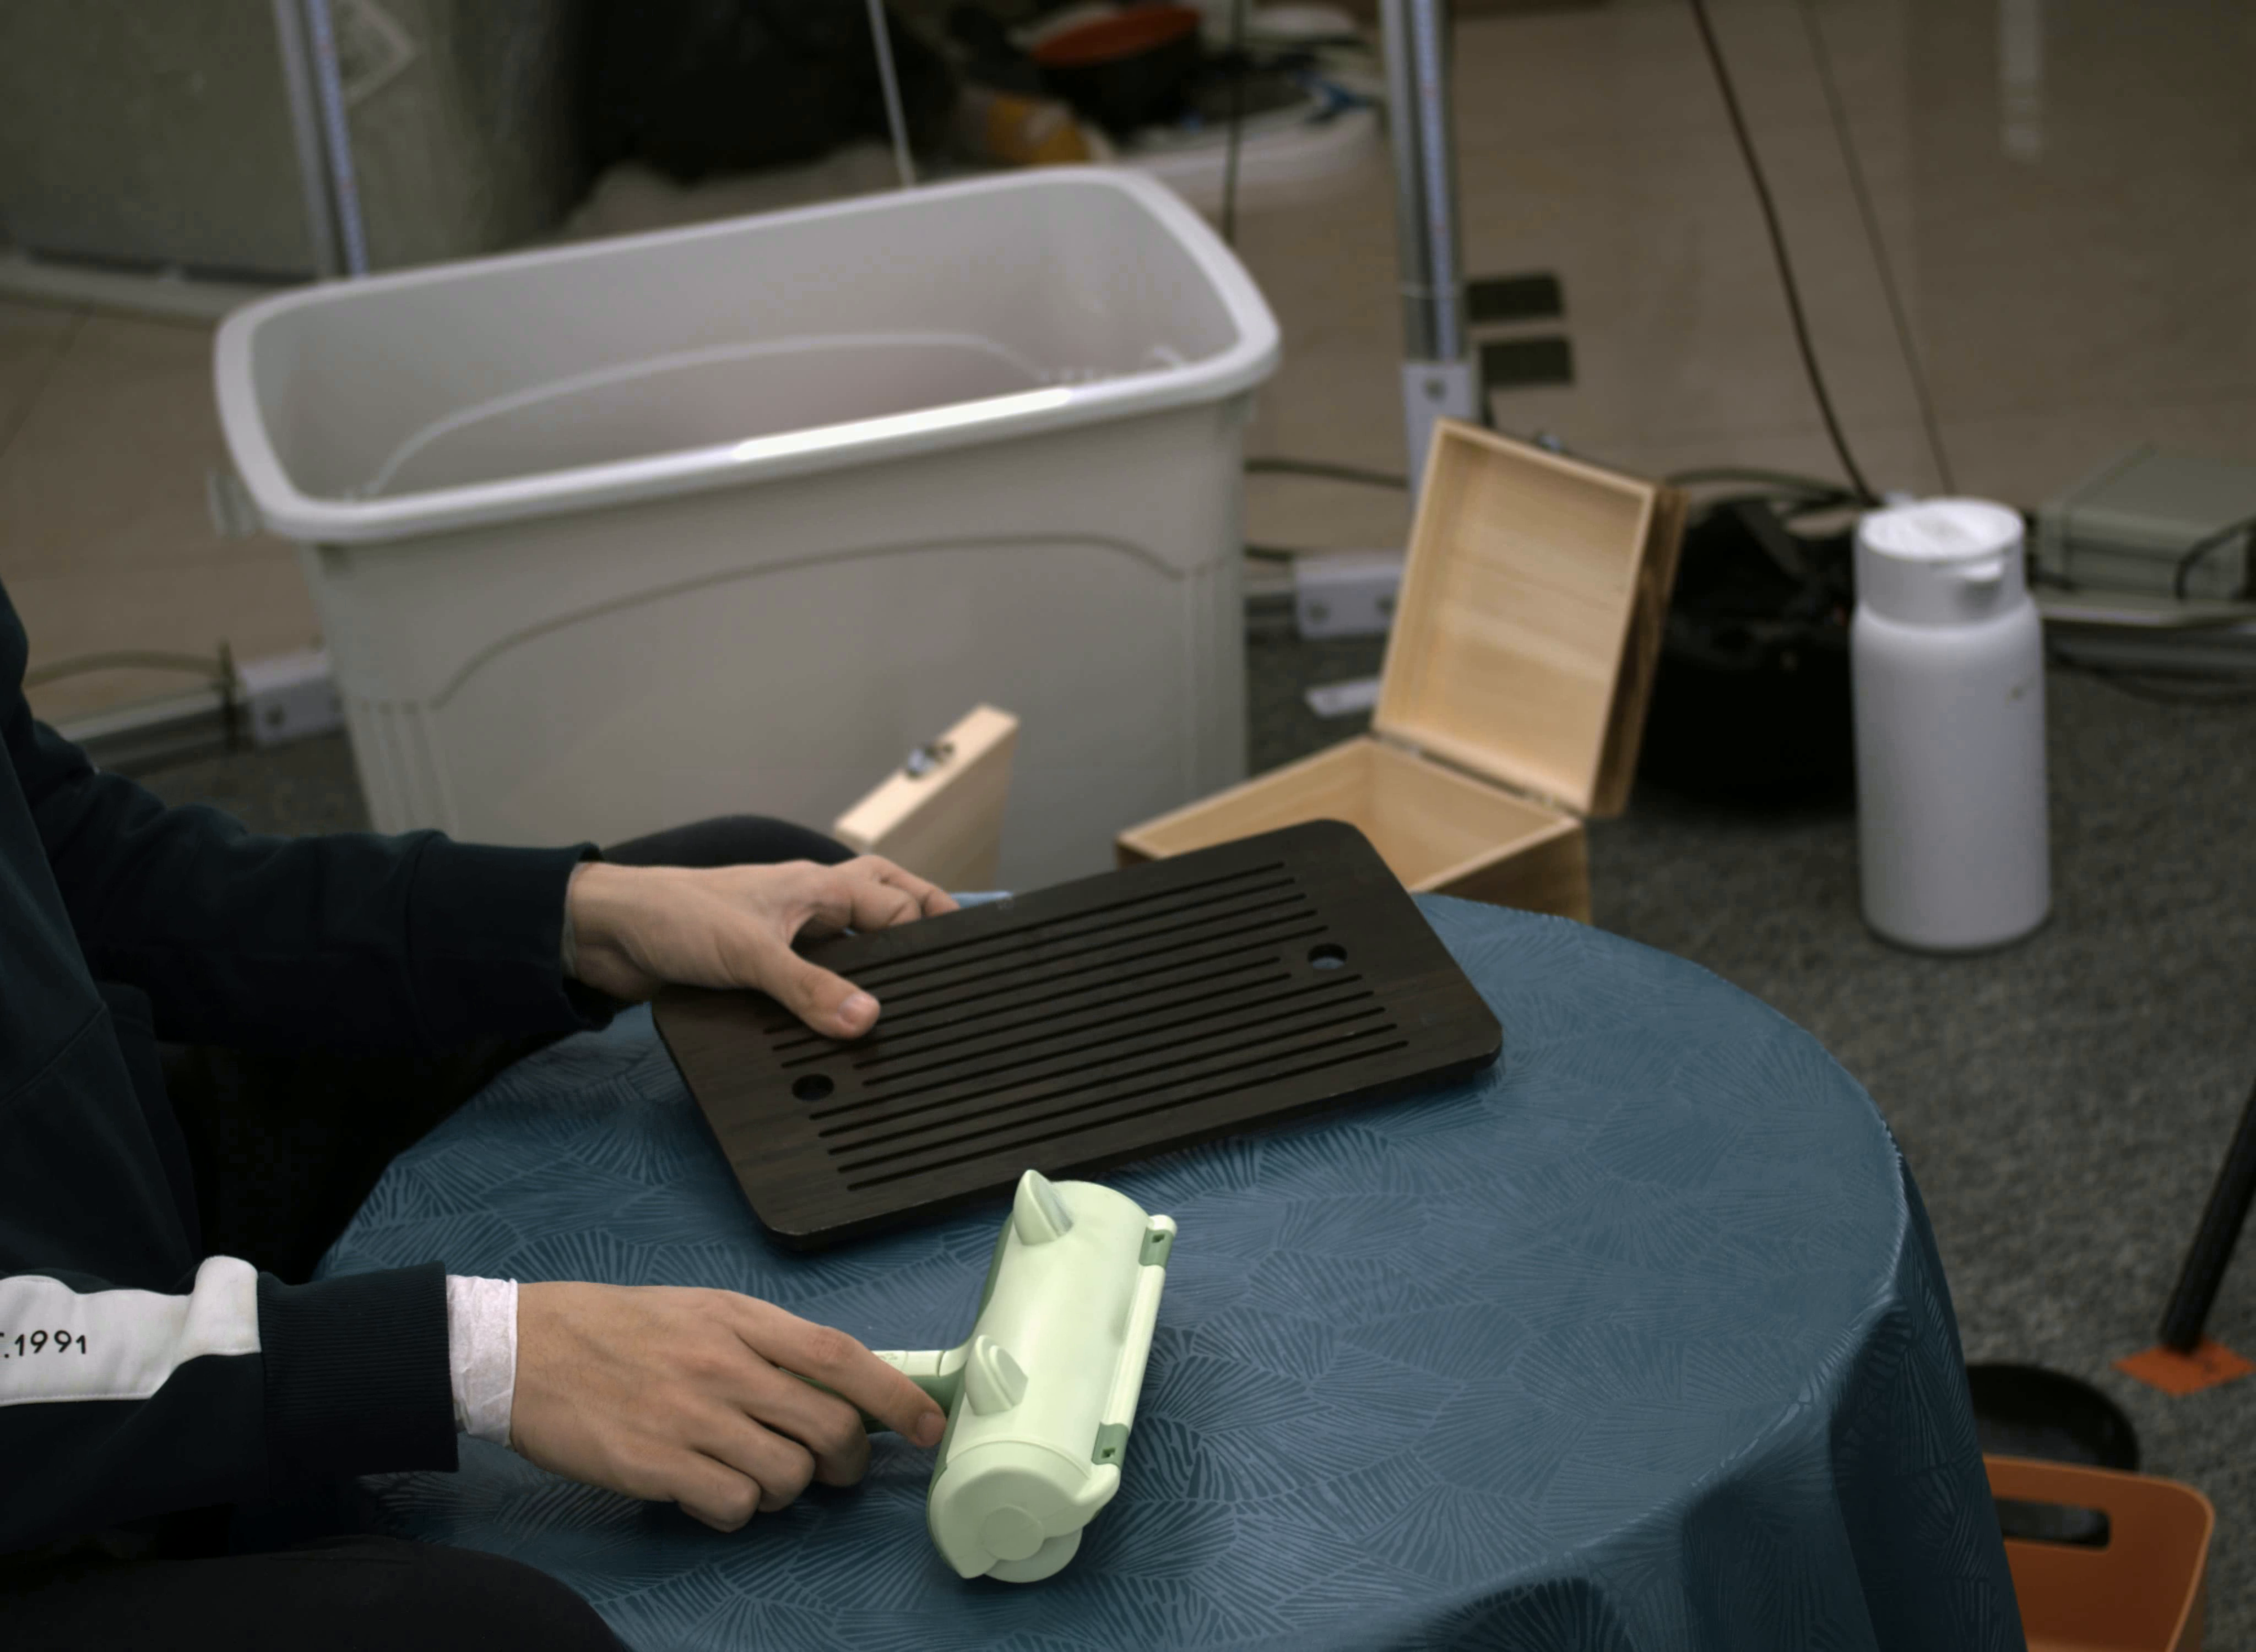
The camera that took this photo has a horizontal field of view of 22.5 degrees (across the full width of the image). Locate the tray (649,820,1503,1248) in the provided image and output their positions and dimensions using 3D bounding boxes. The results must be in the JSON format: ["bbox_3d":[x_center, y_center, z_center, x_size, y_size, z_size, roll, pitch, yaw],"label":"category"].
[{"bbox_3d":[-0.021,0.081,2.218,0.305,0.019,0.167,-14,37,-15],"label":"tray"}]

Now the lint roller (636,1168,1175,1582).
[{"bbox_3d":[-0.084,0.183,1.974,0.183,0.083,0.195,1,26,8],"label":"lint roller"}]
